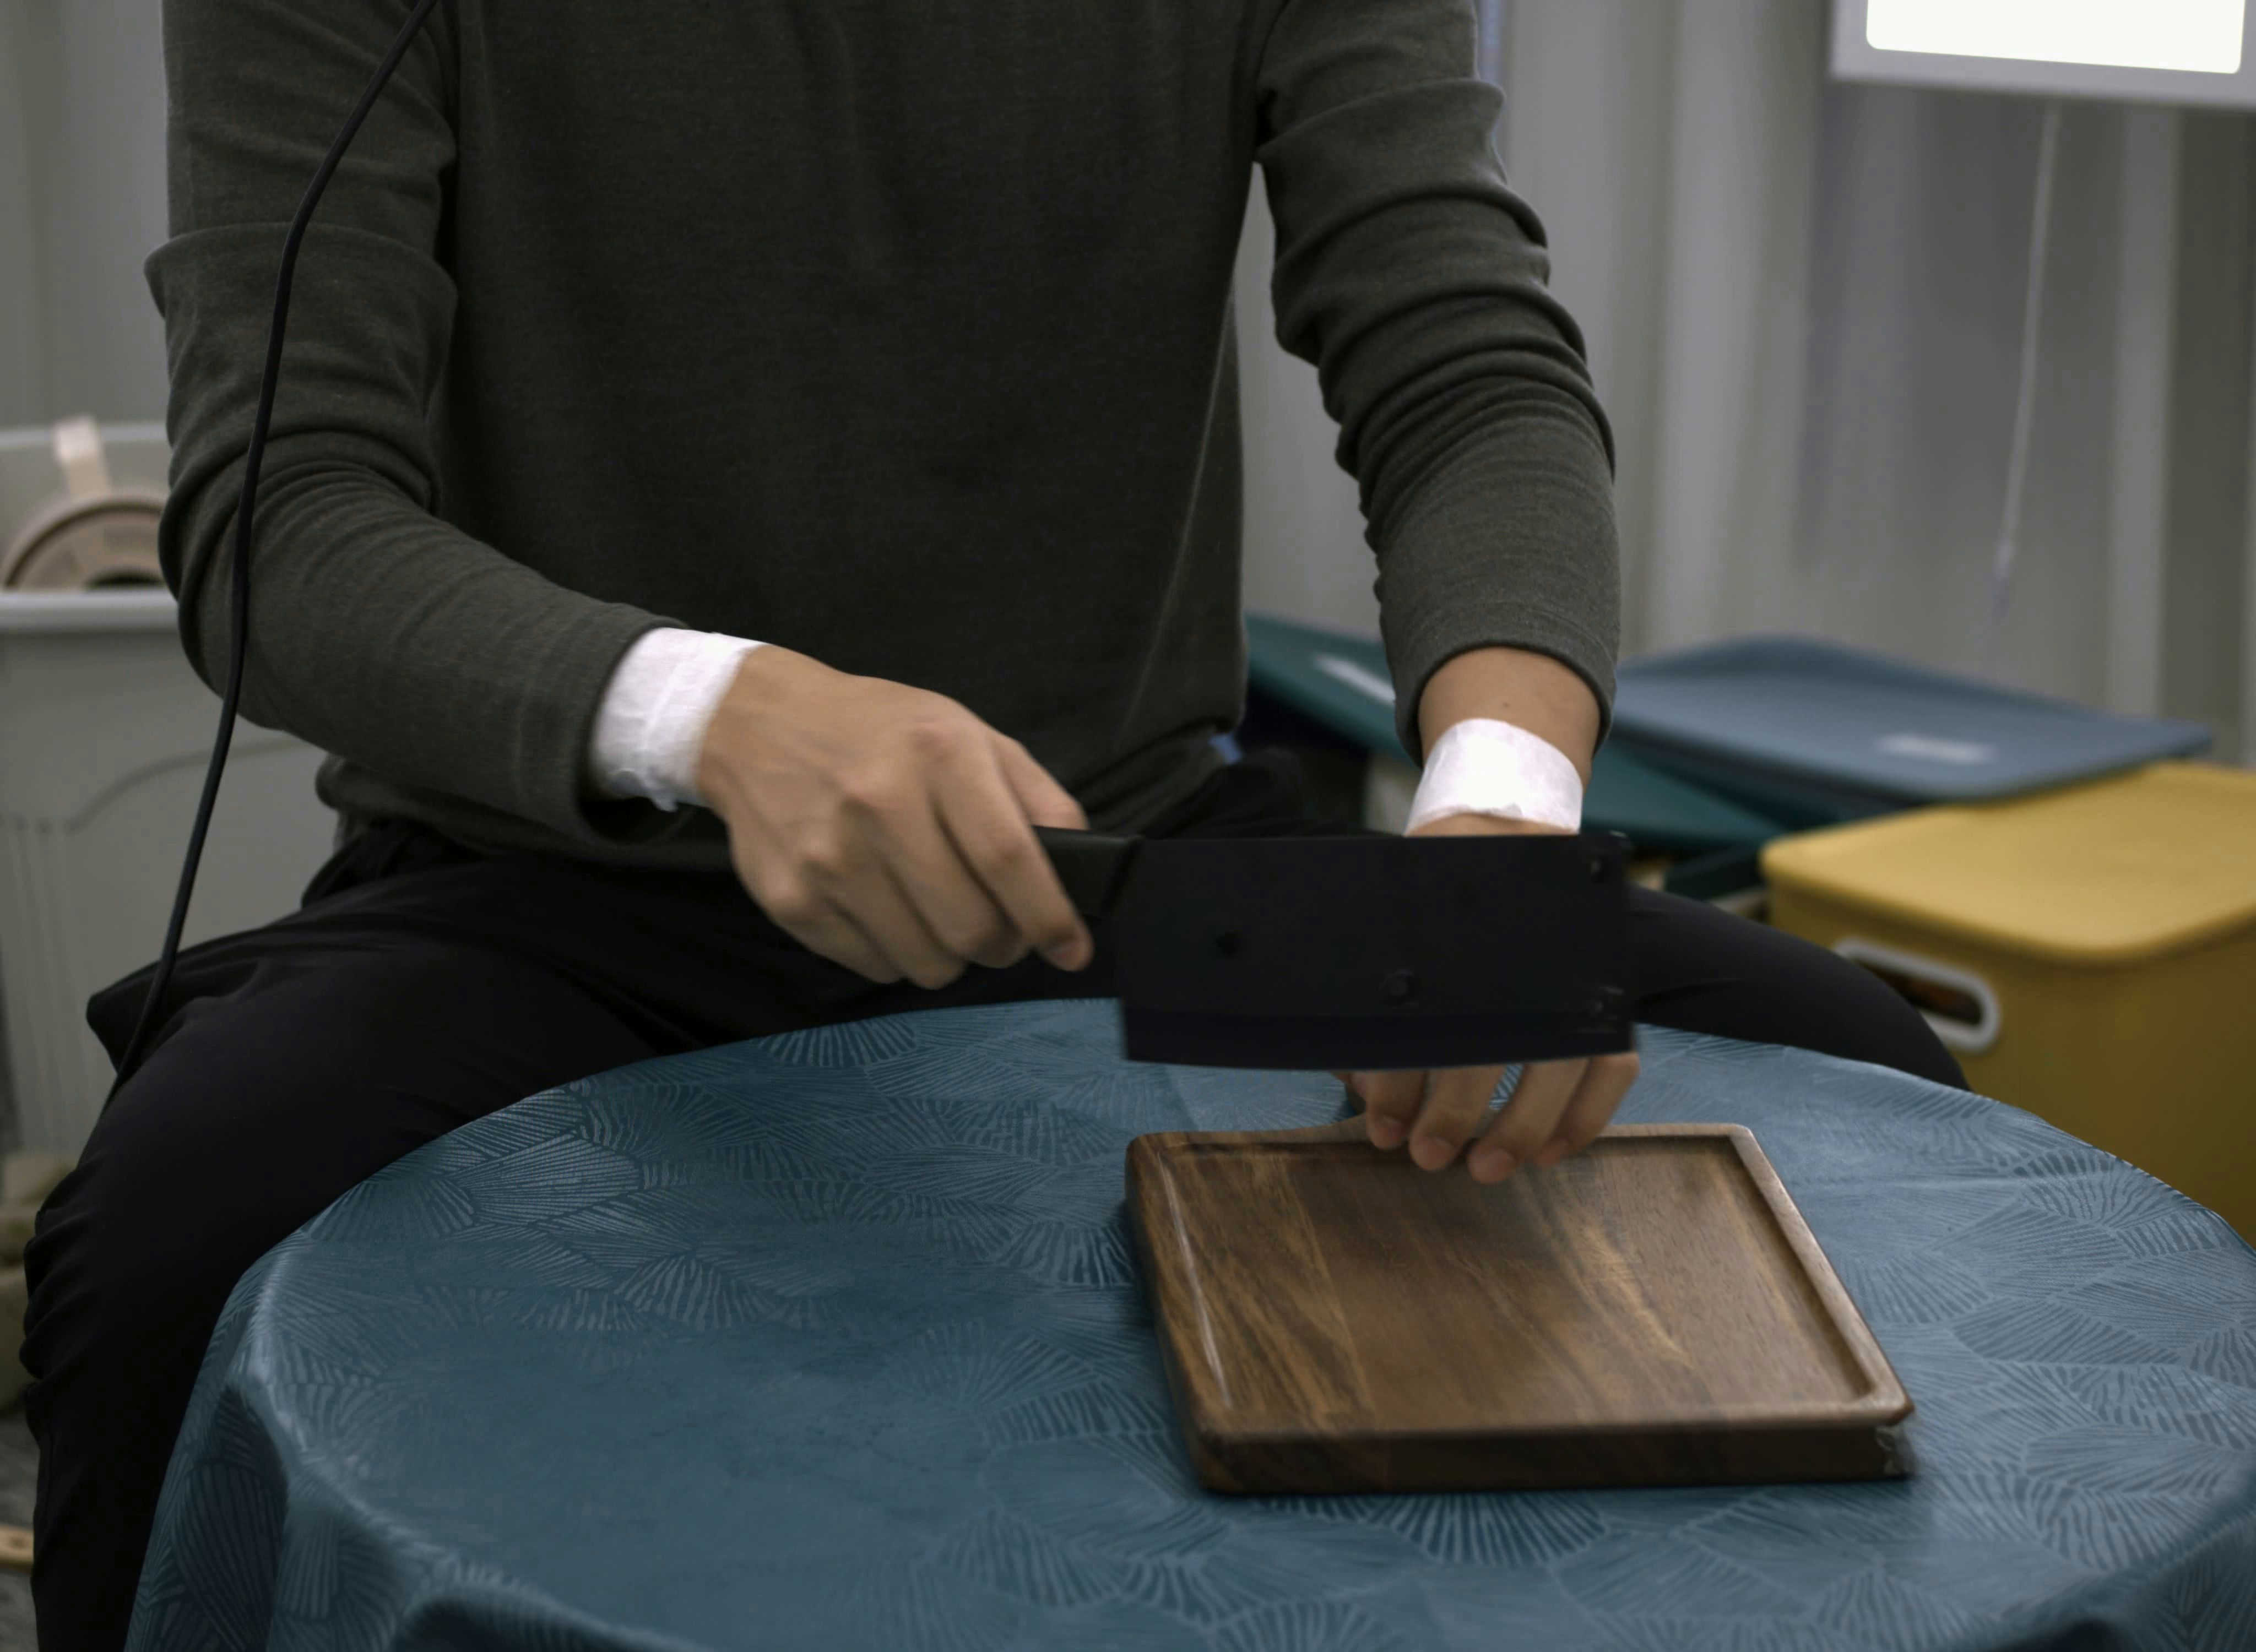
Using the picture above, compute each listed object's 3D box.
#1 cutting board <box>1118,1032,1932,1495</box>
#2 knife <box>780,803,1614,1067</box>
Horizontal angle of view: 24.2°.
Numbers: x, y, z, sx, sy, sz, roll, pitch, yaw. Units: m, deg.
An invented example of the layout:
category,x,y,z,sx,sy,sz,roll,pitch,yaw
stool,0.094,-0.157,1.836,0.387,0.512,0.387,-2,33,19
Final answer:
category,x,y,z,sx,sy,sz,roll,pitch,yaw
cutting board,0.102,0.120,1.558,0.201,0.023,0.349,0,15,-5
knife,0.014,0.029,1.506,0.298,0.081,0.021,4,6,39
